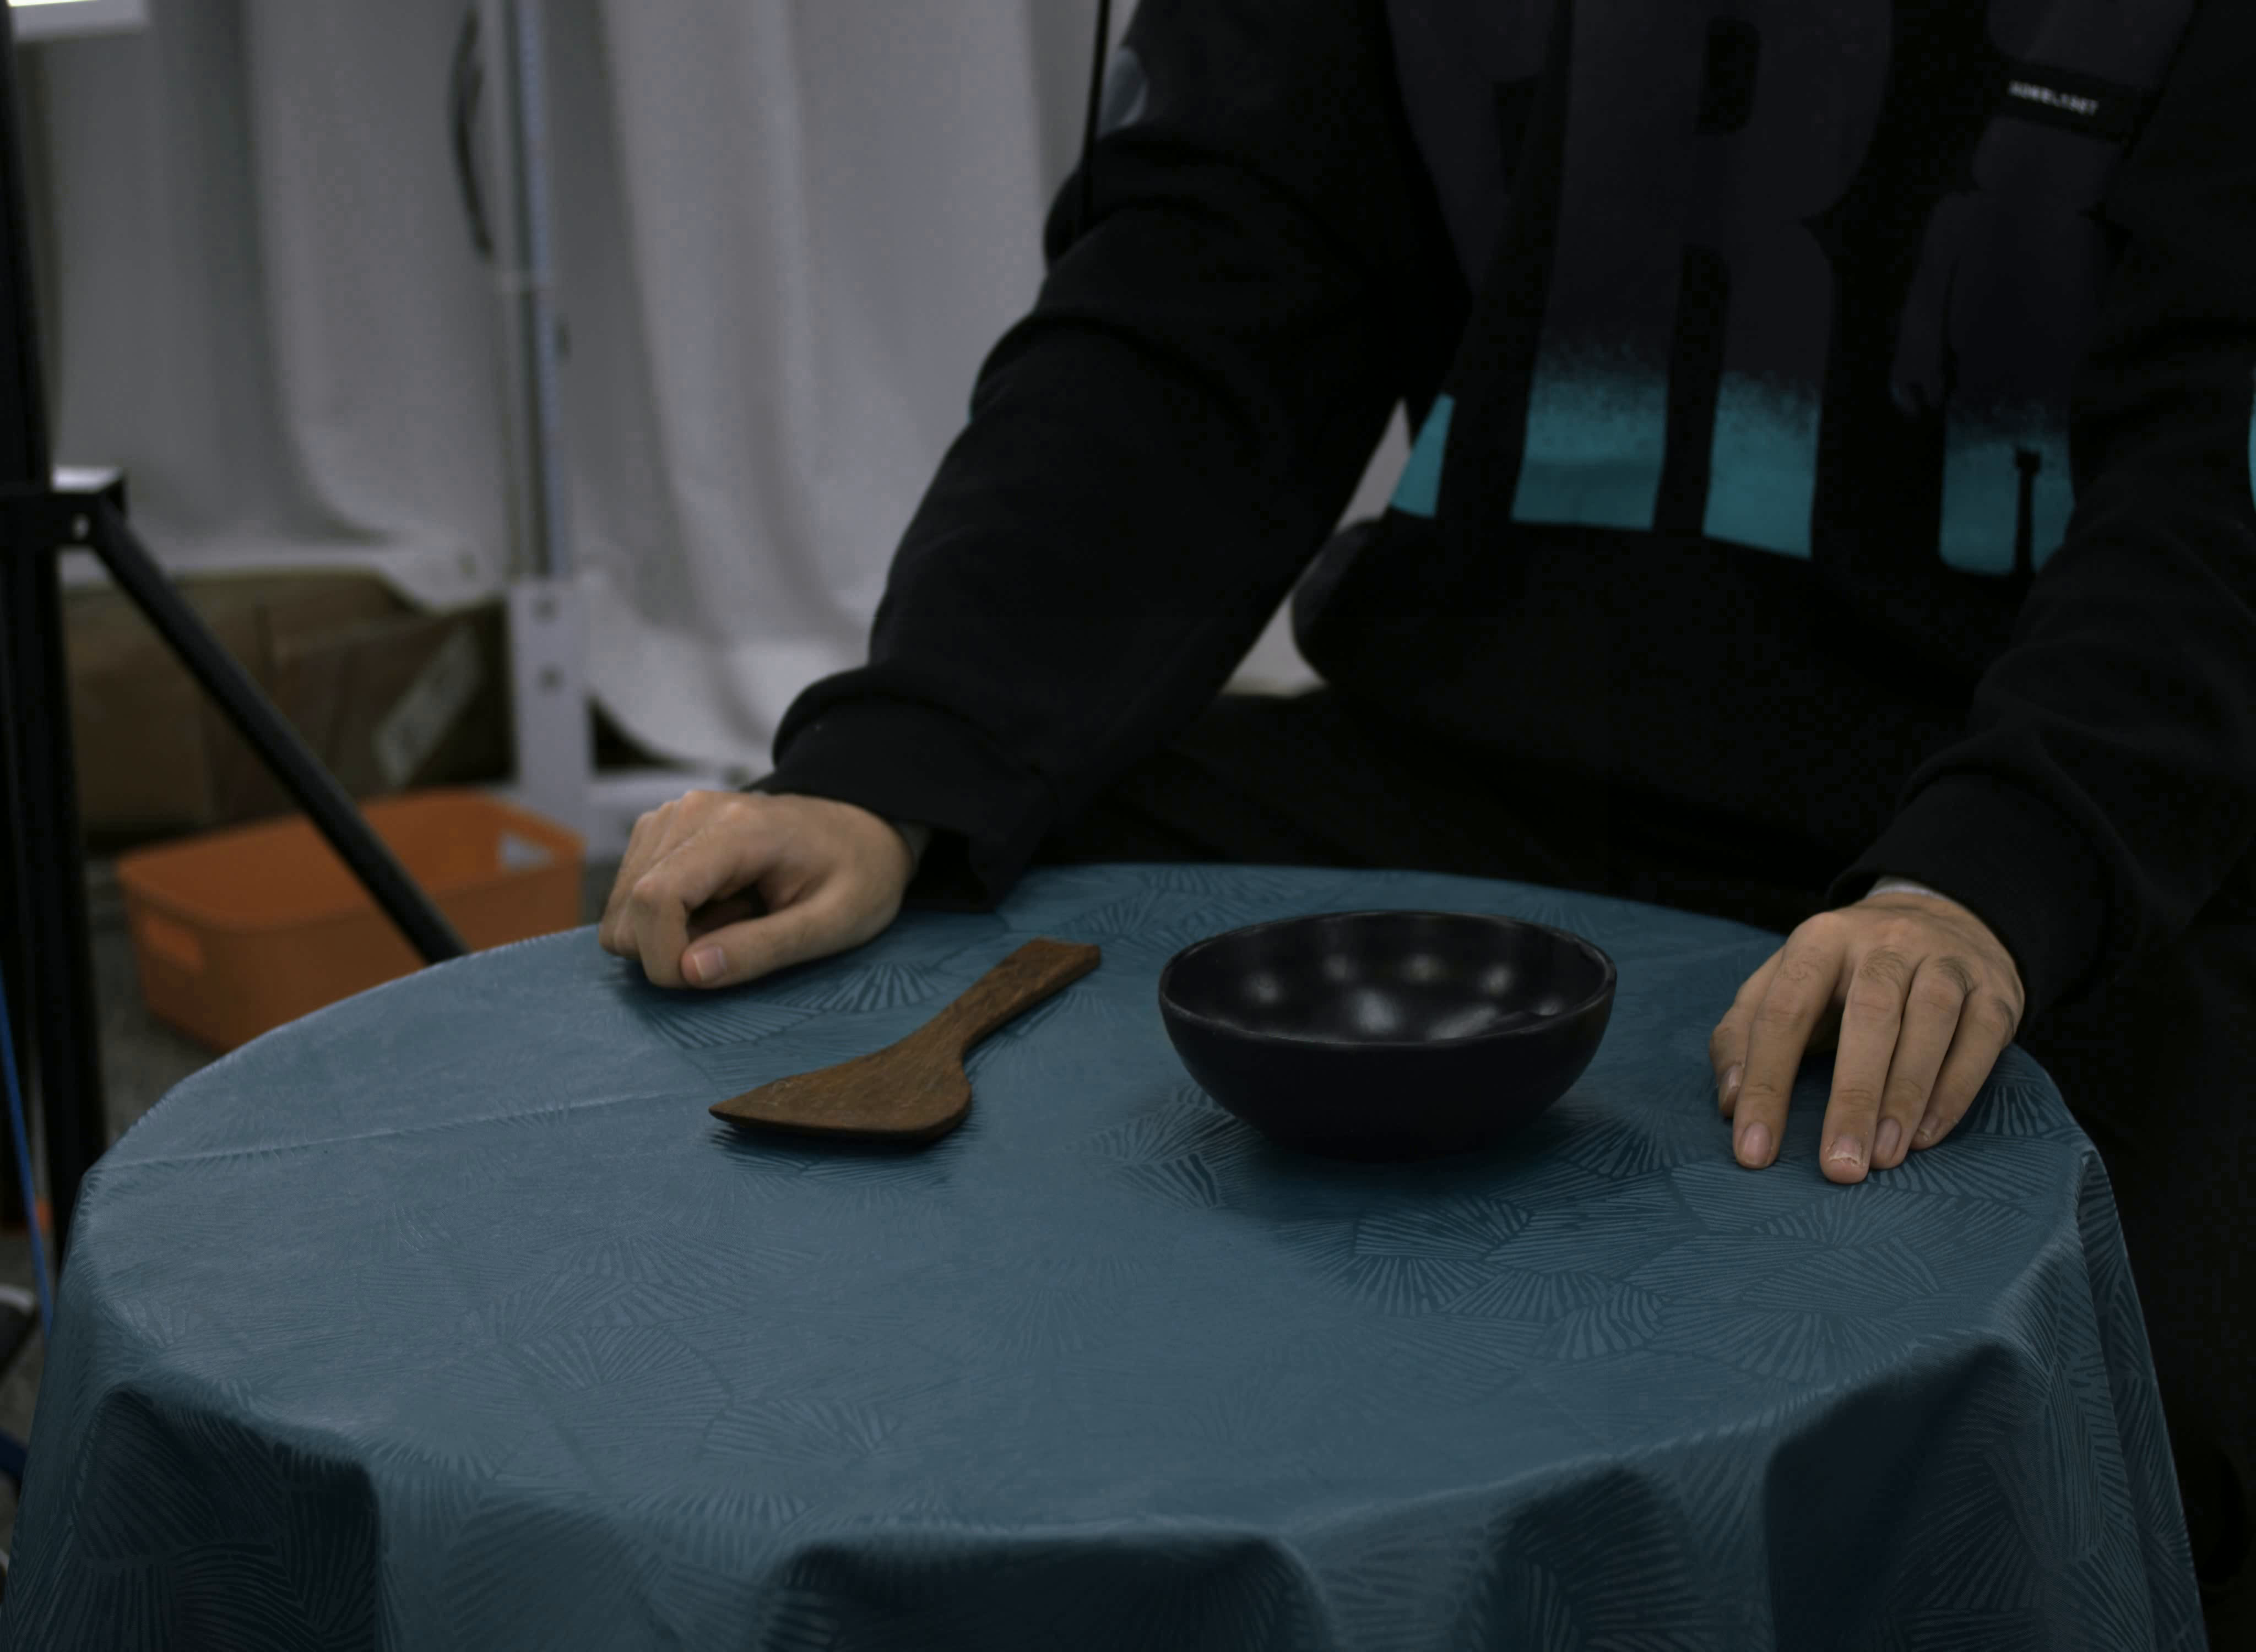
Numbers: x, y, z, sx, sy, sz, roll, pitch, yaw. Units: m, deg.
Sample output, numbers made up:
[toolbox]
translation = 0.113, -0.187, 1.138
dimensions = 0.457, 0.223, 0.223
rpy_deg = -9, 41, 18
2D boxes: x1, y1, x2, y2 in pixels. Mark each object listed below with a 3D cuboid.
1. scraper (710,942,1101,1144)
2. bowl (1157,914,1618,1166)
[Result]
[scraper]
translation = -0.058, 0.068, 1.695
dimensions = 0.077, 0.011, 0.208
rpy_deg = 5, 17, 22
[bowl]
translation = 0.079, 0.069, 1.596
dimensions = 0.139, 0.050, 0.140
rpy_deg = -5, 14, 0
